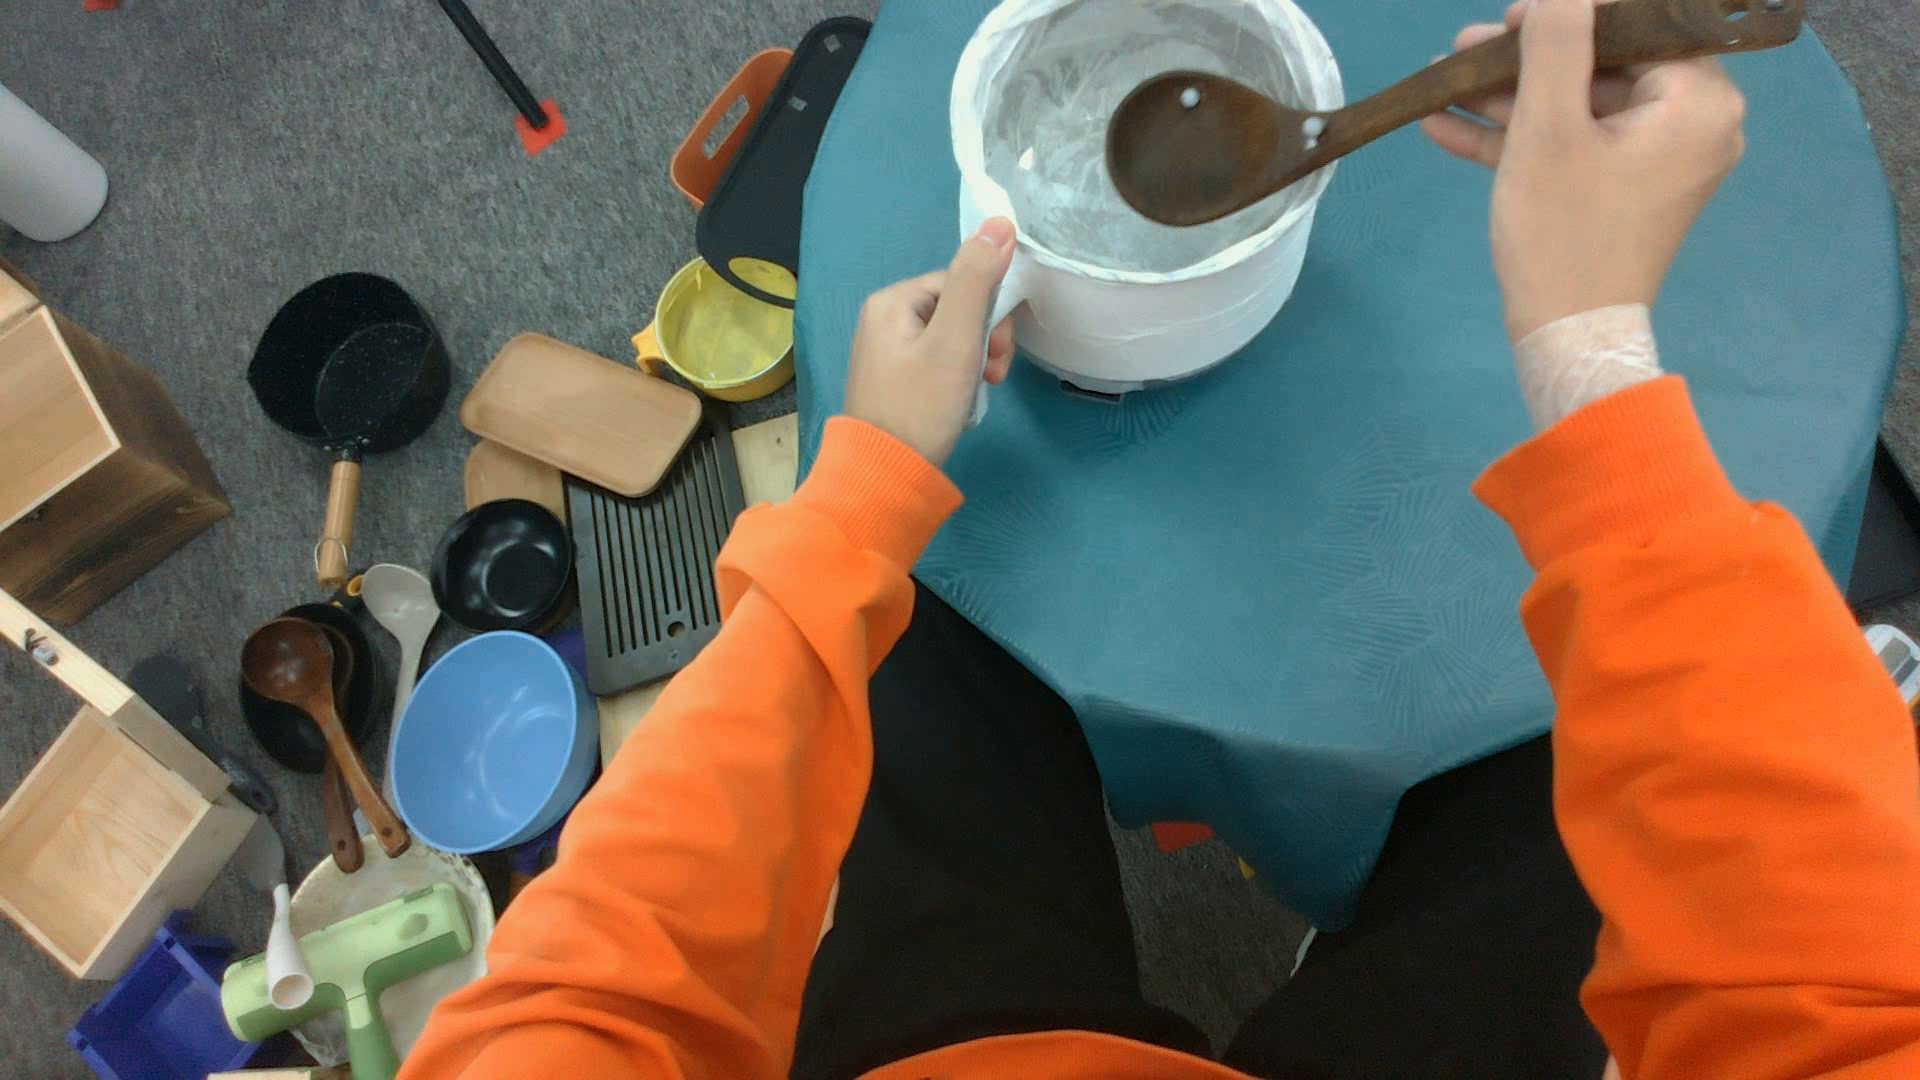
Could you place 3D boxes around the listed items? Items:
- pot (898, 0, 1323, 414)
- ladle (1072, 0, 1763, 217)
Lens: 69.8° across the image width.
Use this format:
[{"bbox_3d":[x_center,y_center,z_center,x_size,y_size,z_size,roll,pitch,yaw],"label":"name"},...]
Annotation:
[{"bbox_3d":[0.059,-0.163,0.677,0.179,0.136,0.234,40,77,15],"label":"pot"},{"bbox_3d":[0.154,-0.185,0.539,0.273,0.071,0.076,-2,75,53],"label":"ladle"}]
